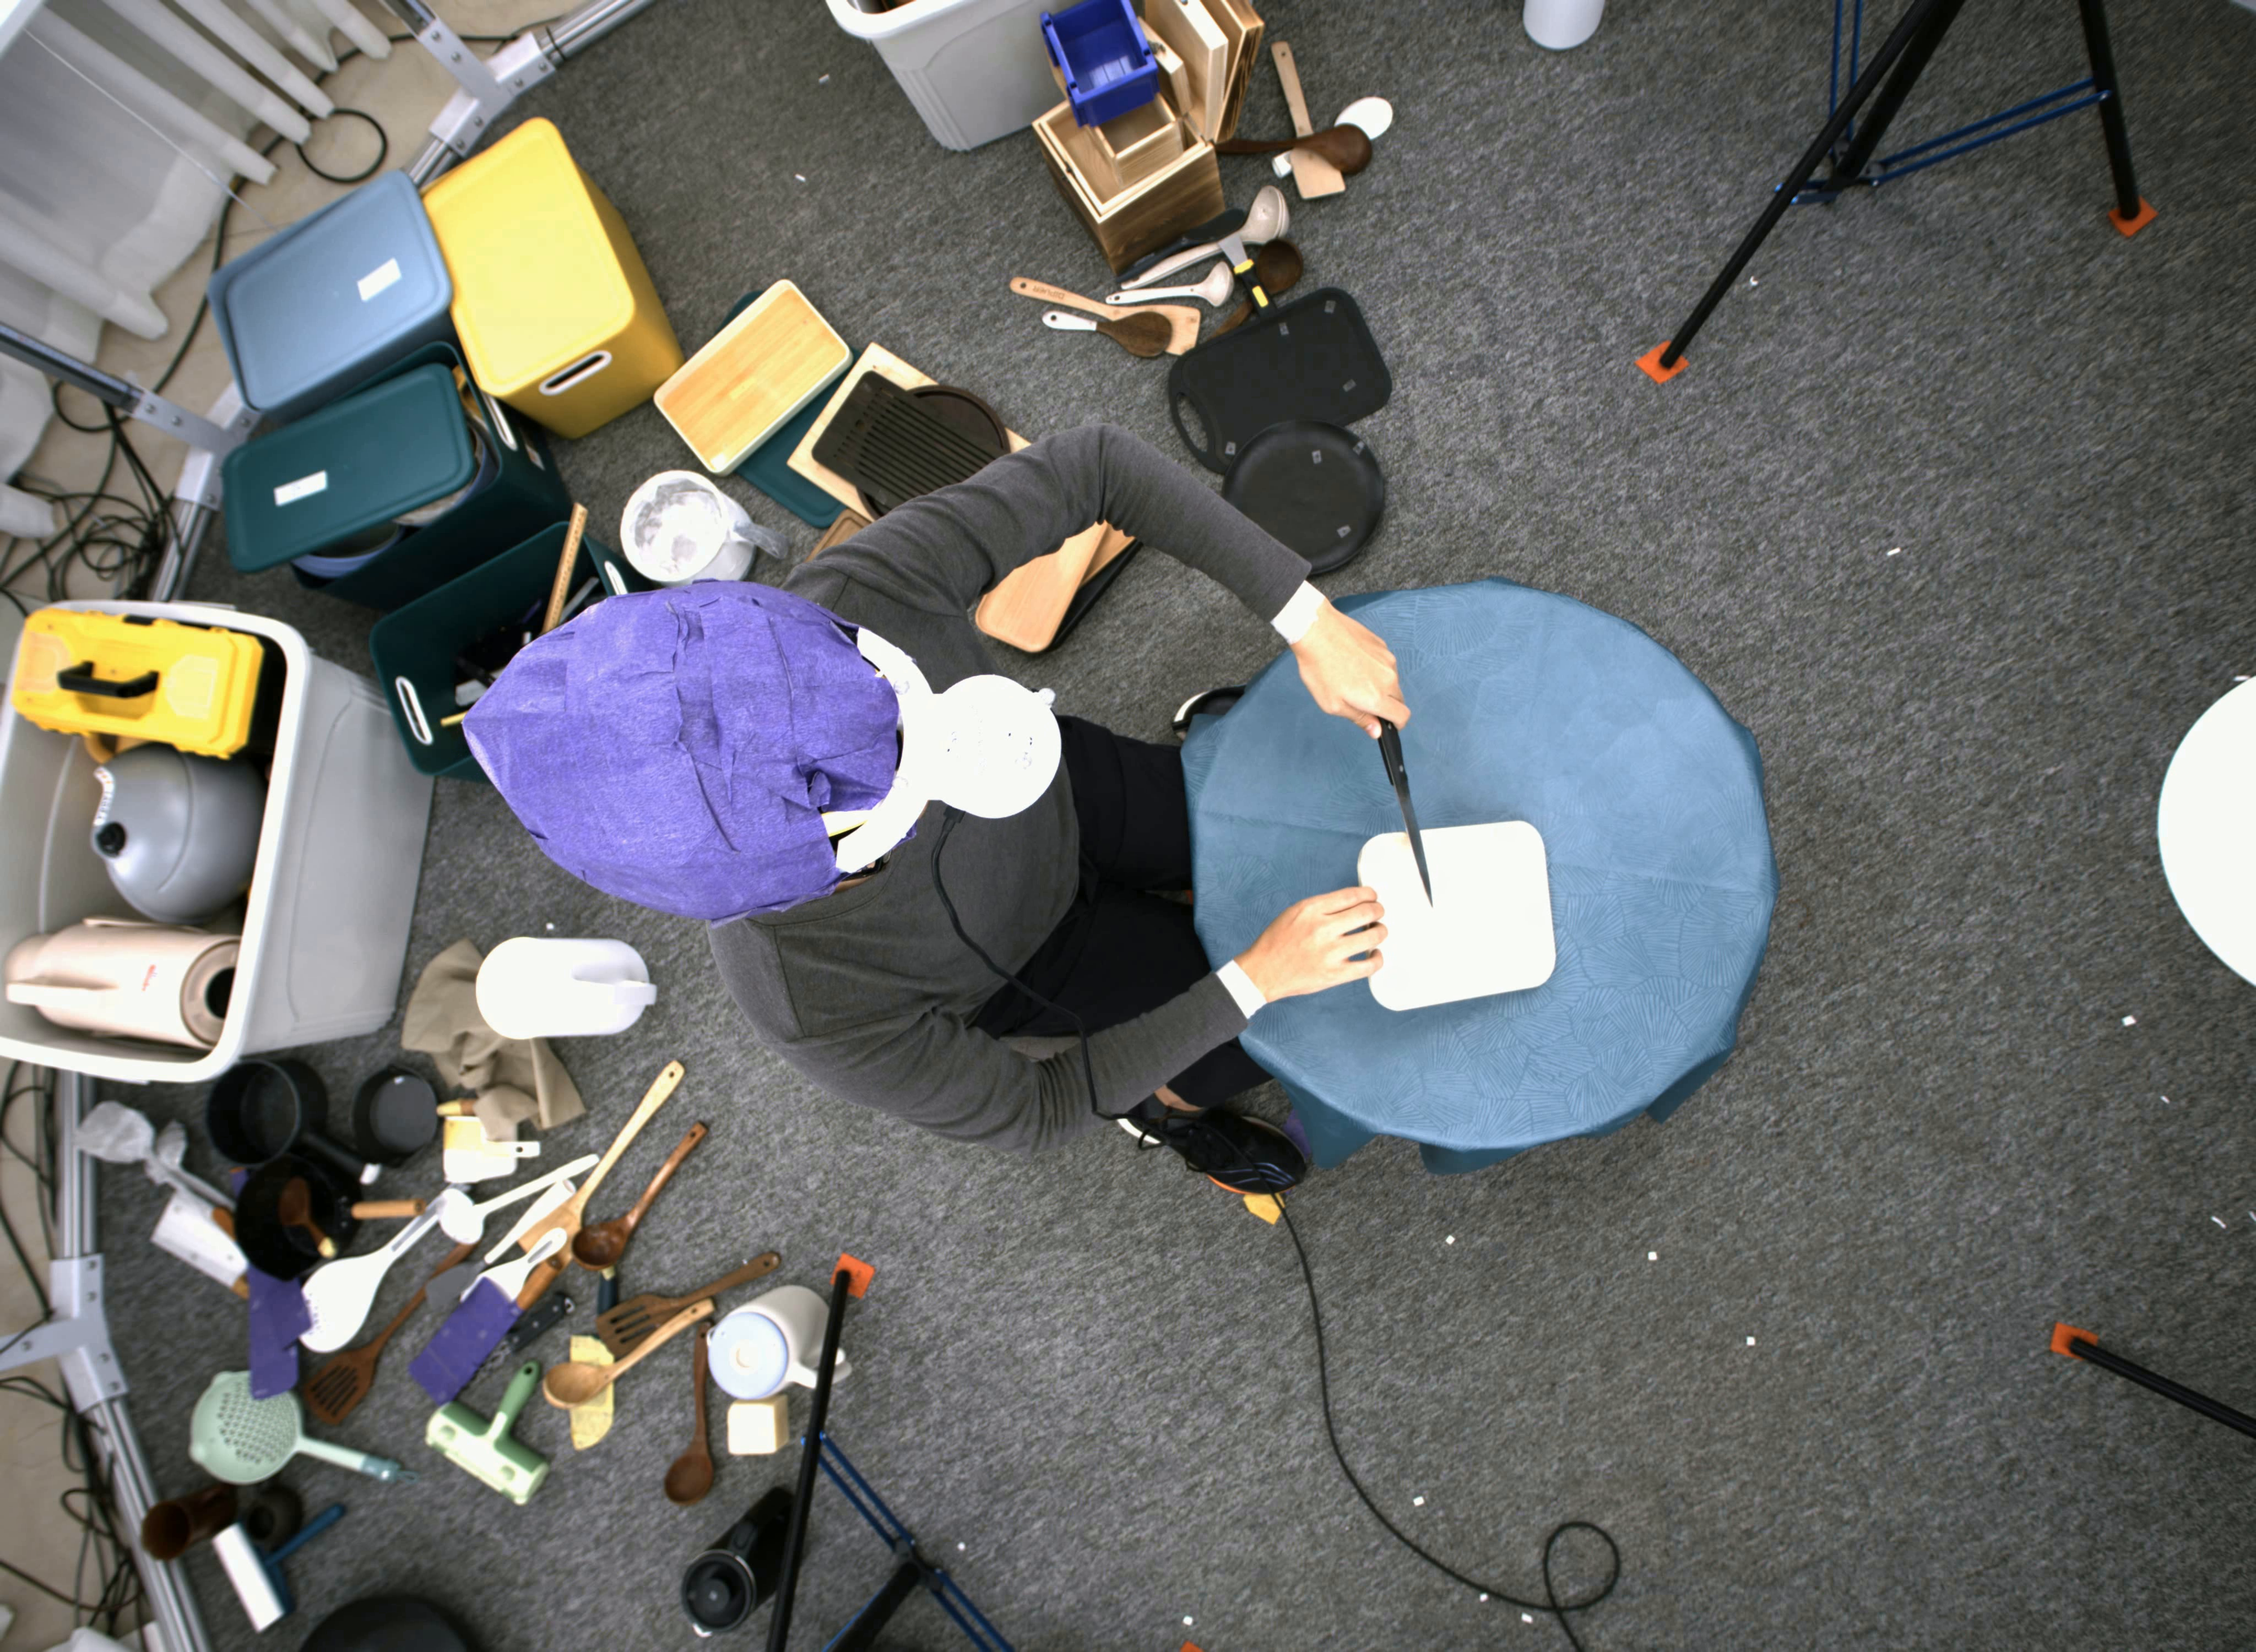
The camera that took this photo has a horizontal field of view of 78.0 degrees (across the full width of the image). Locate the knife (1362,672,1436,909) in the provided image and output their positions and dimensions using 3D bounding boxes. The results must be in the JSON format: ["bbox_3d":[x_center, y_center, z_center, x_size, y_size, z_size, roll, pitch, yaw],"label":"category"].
[{"bbox_3d":[0.264,-0.035,1.331,0.016,0.024,0.238,-13,93,48],"label":"knife"}]

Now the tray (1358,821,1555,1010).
[{"bbox_3d":[0.328,0.084,1.369,0.238,0.017,0.171,-5,91,-28],"label":"tray"}]
